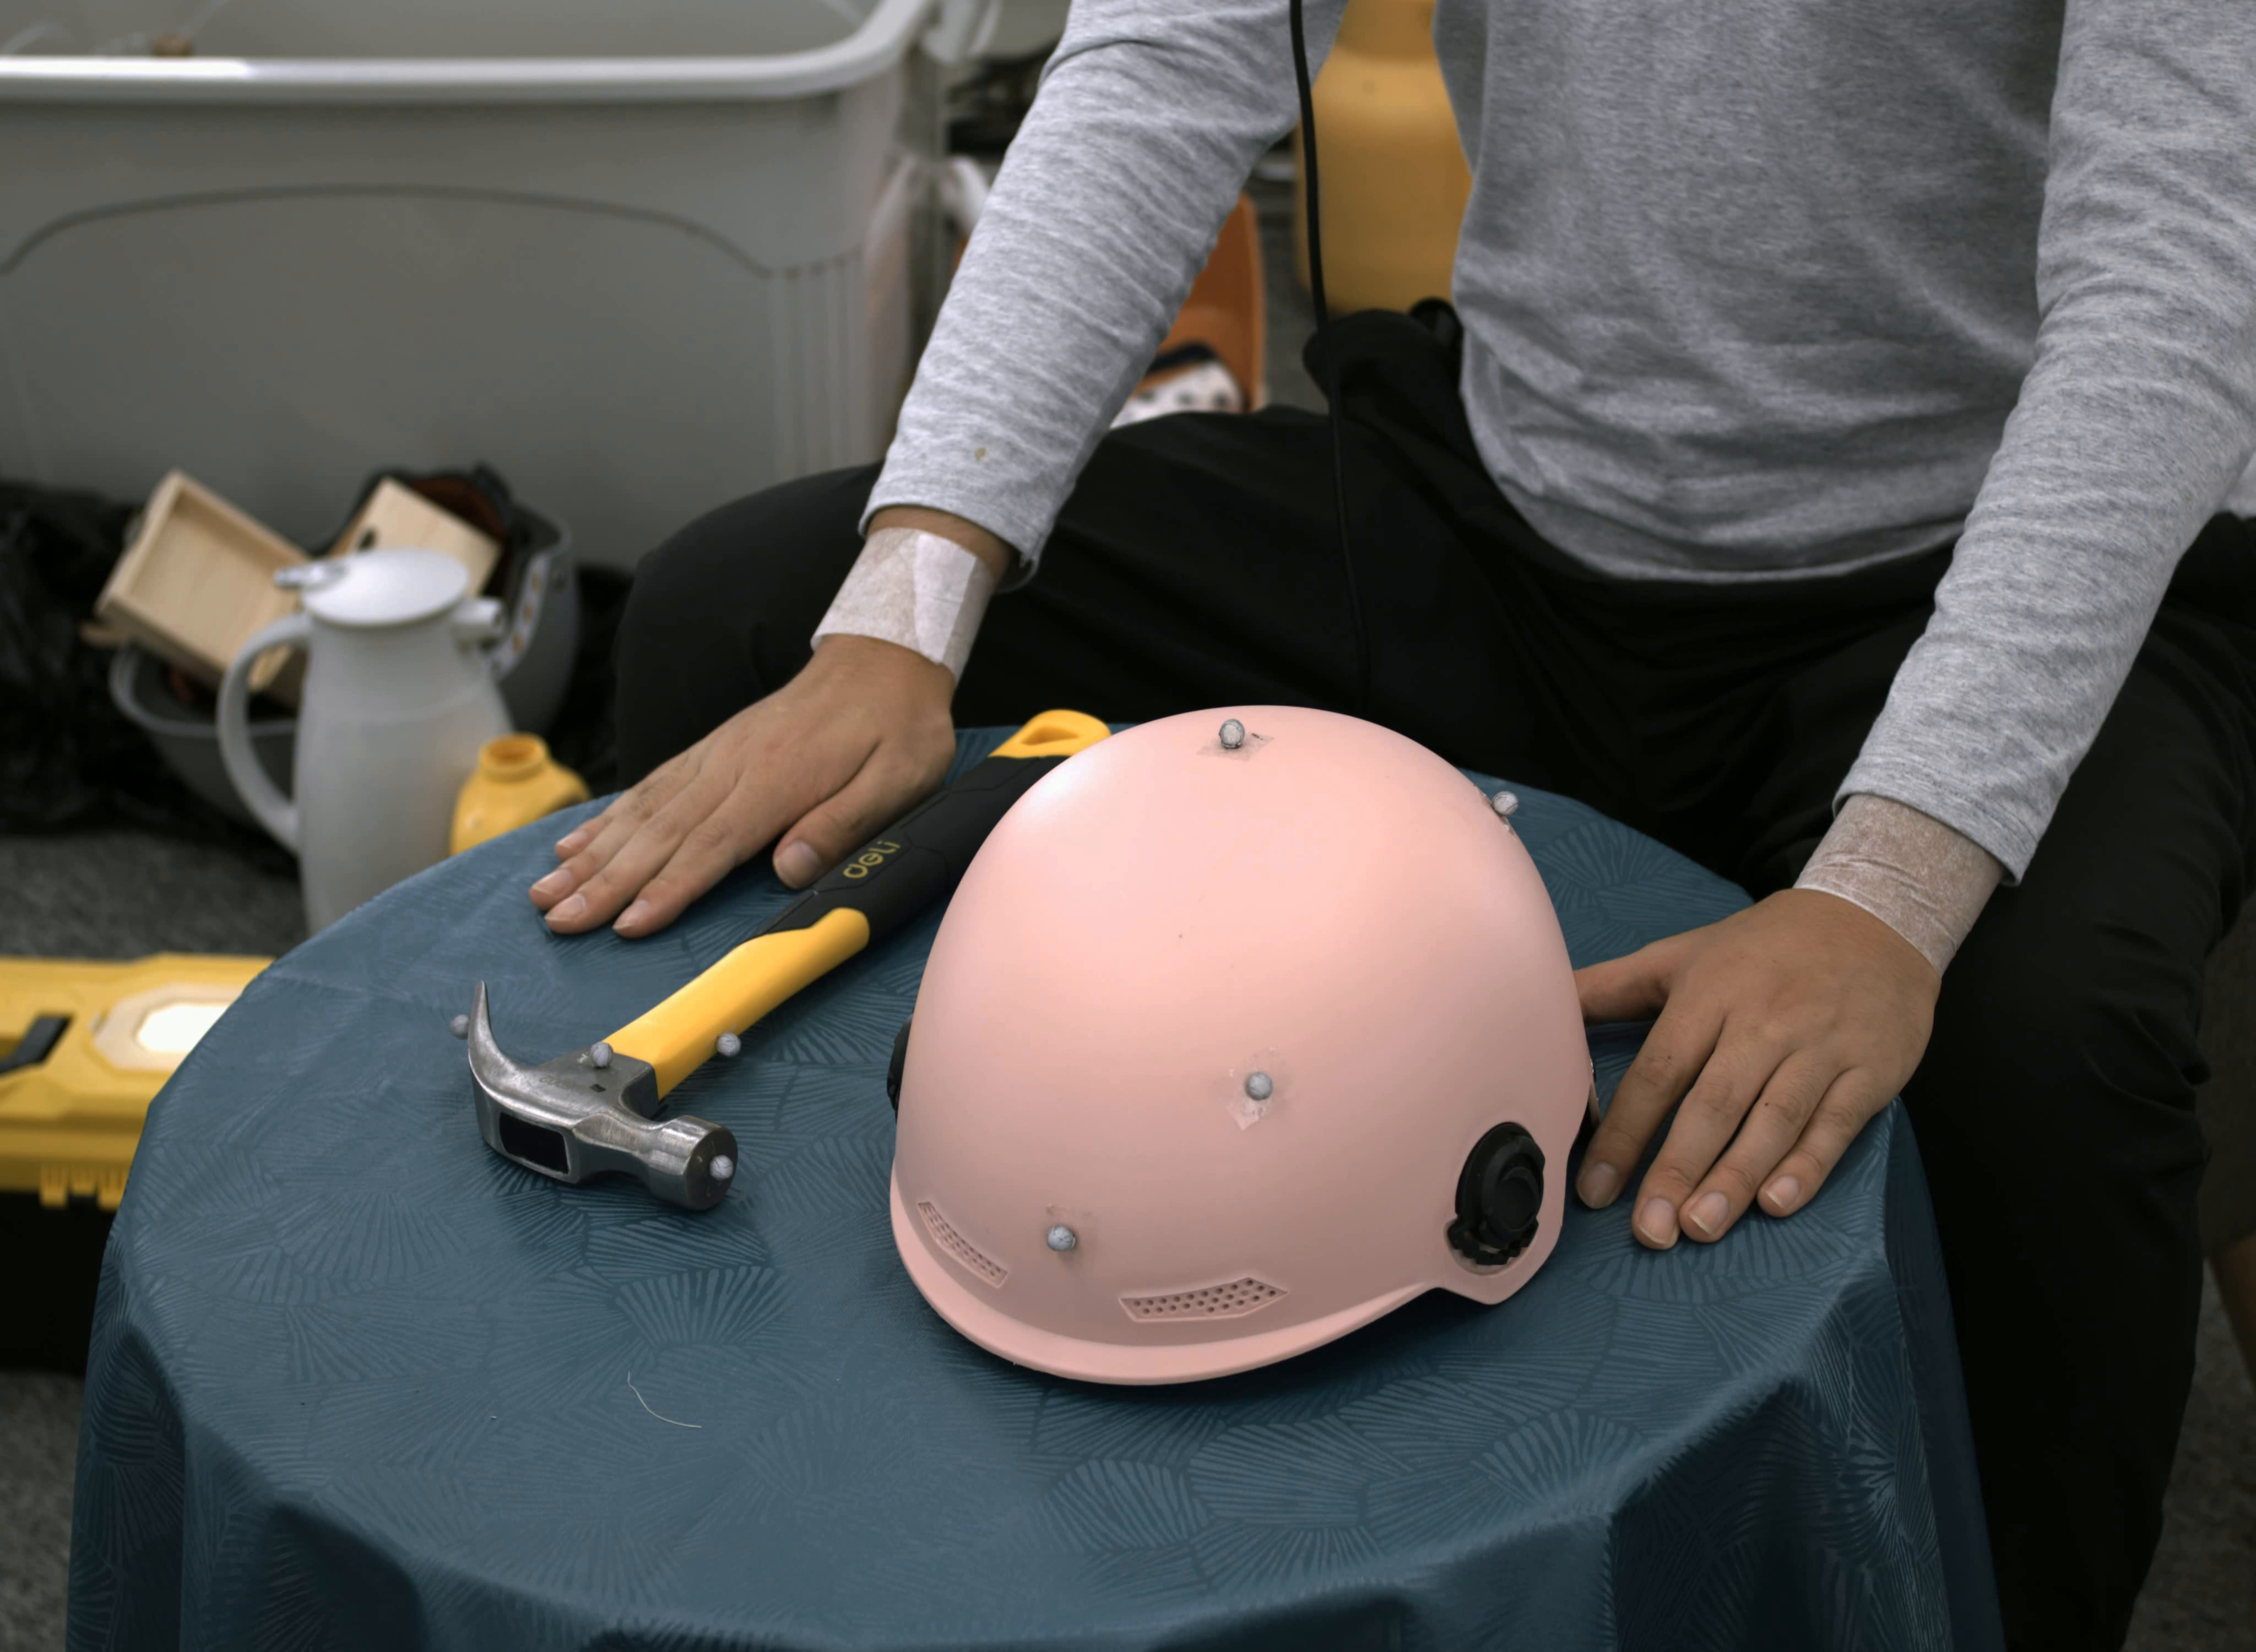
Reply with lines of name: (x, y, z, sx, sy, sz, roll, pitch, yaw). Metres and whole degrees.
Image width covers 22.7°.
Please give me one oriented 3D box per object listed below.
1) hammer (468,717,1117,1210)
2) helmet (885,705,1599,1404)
hammer: (-0.108, 0.037, 2.007, 0.130, 0.032, 0.344, 13, 31, 30)
helmet: (0.032, 0.055, 1.828, 0.232, 0.157, 0.270, 11, 34, 25)
